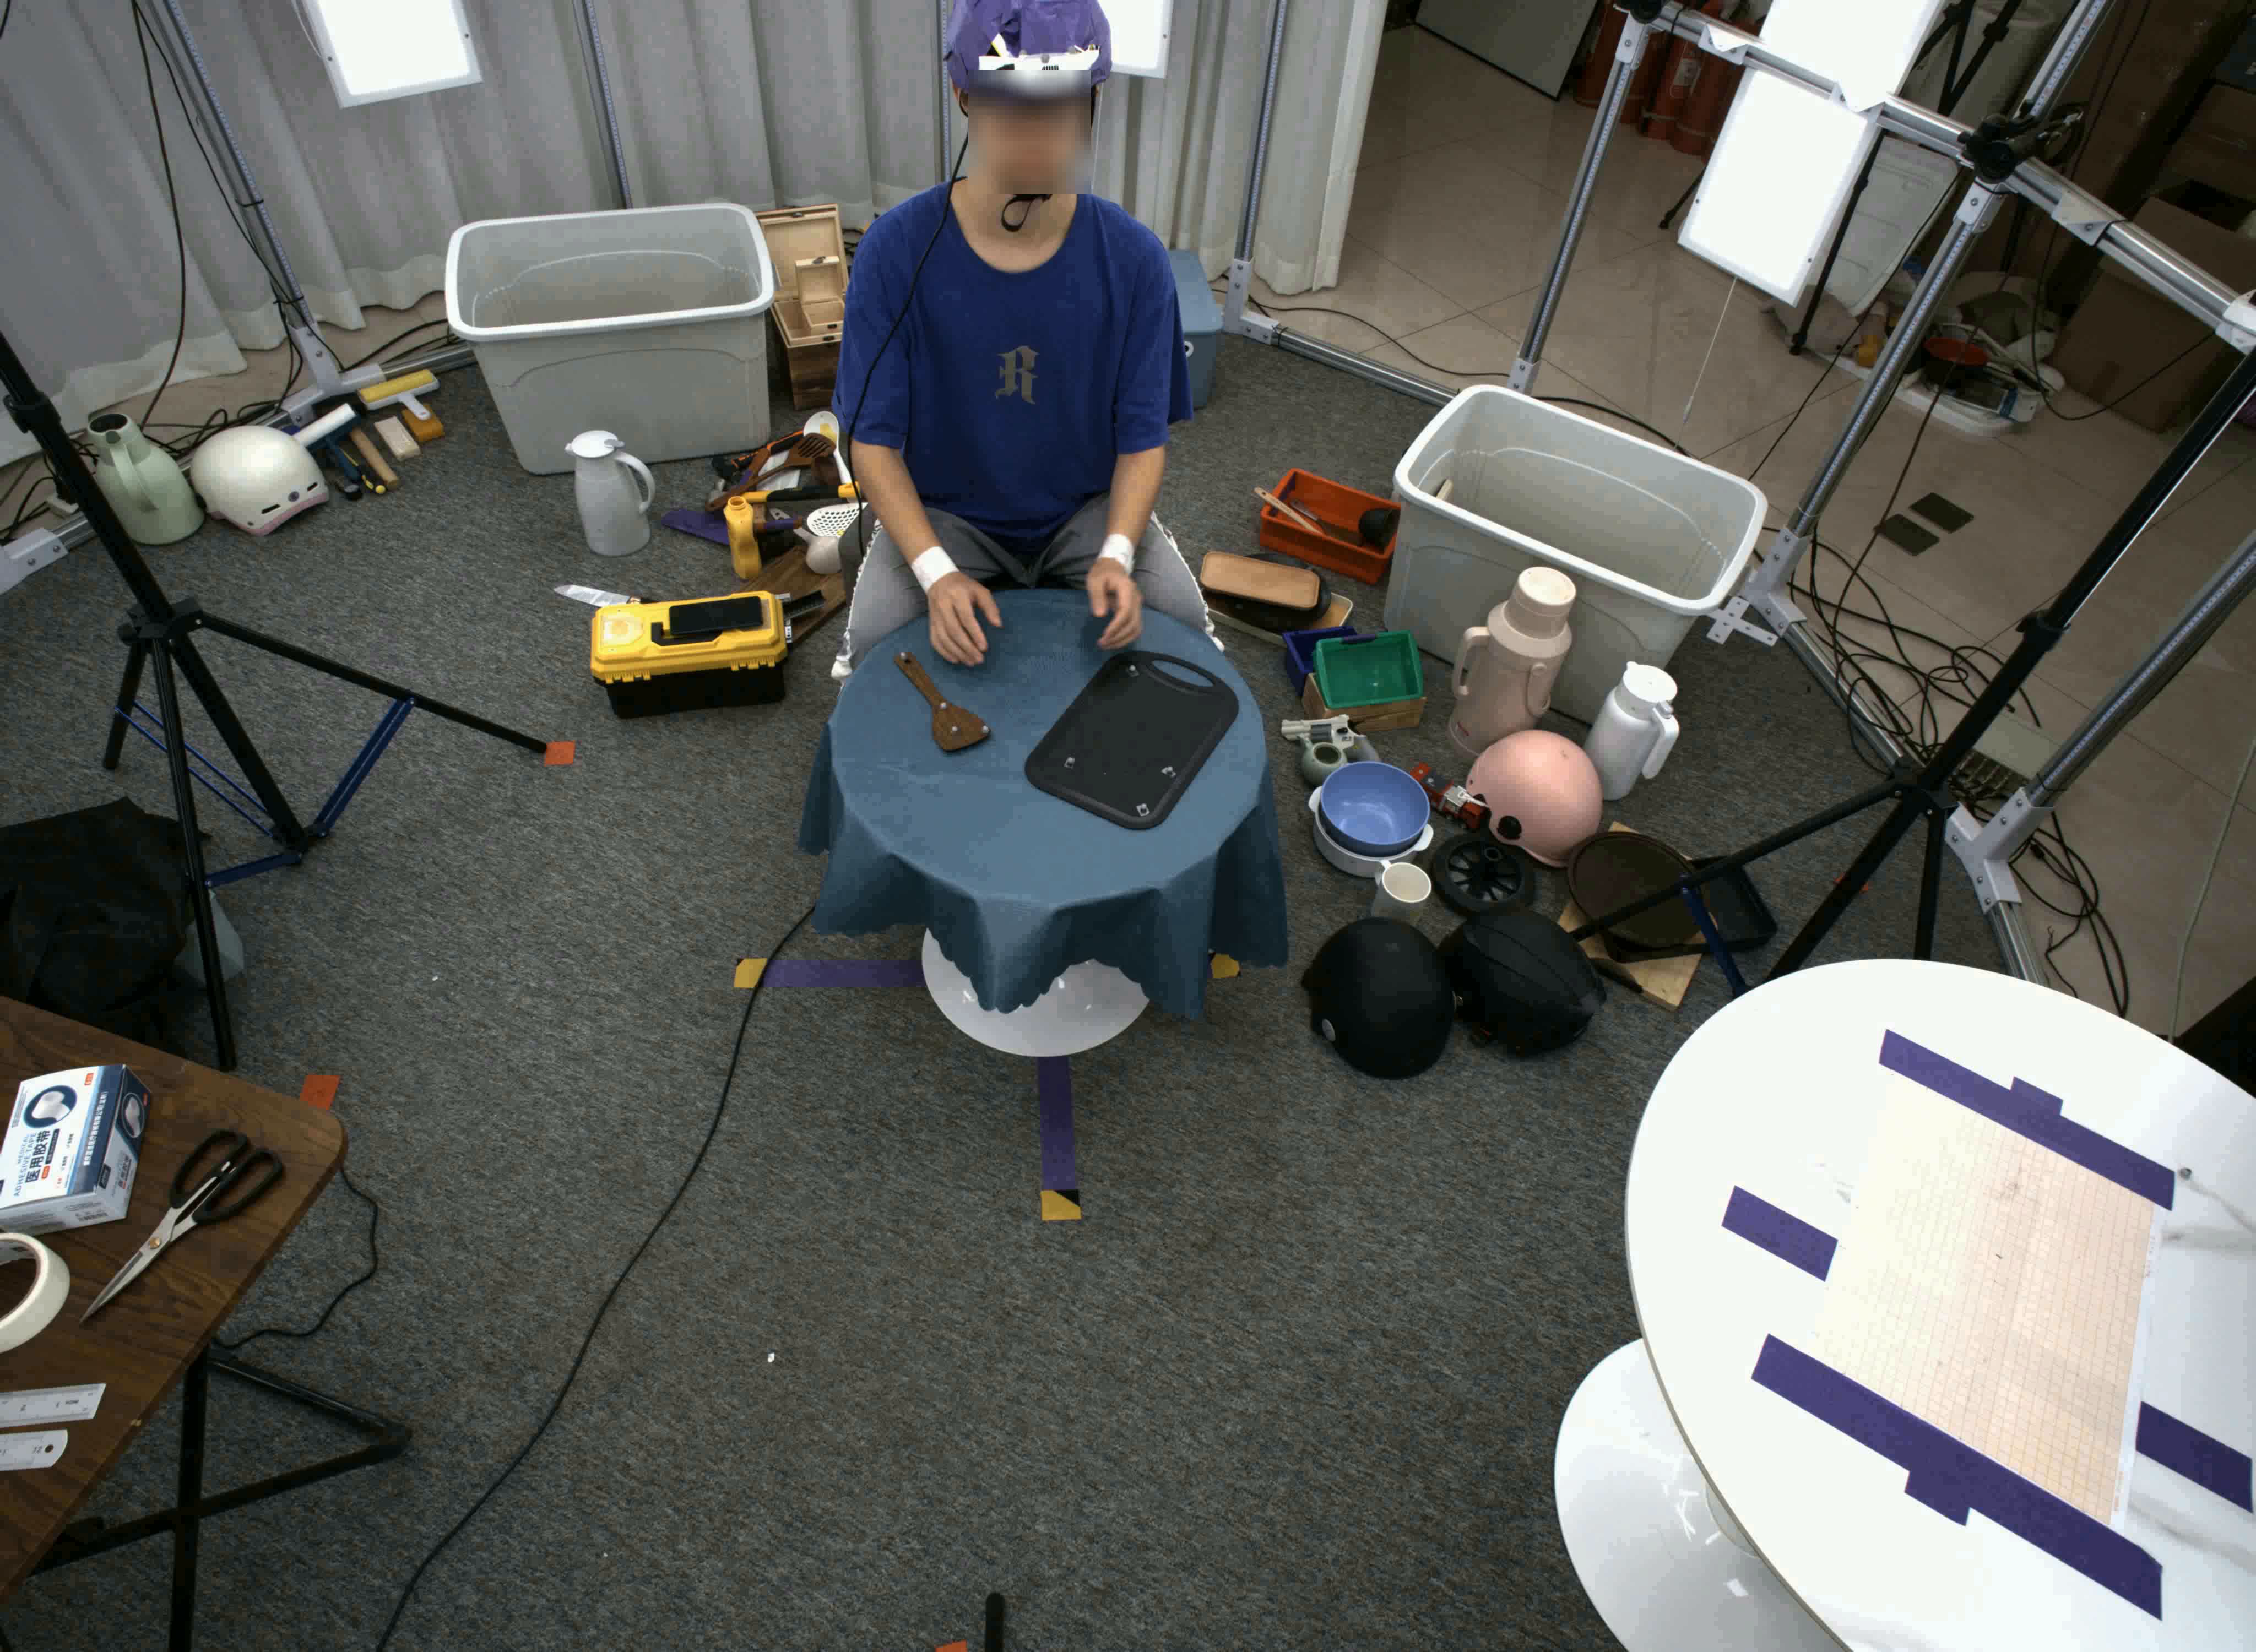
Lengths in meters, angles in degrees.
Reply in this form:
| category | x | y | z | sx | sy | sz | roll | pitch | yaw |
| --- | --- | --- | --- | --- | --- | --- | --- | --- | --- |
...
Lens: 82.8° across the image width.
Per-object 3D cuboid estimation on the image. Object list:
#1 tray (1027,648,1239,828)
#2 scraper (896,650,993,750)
| category | x | y | z | sx | sy | sz | roll | pitch | yaw |
| --- | --- | --- | --- | --- | --- | --- | --- | --- | --- |
| tray | 0.015 | -0.136 | 1.787 | 0.213 | 0.009 | 0.331 | 24 | 52 | 16 |
| scraper | -0.268 | -0.181 | 1.806 | 0.076 | 0.010 | 0.215 | -23 | 54 | -23 |
